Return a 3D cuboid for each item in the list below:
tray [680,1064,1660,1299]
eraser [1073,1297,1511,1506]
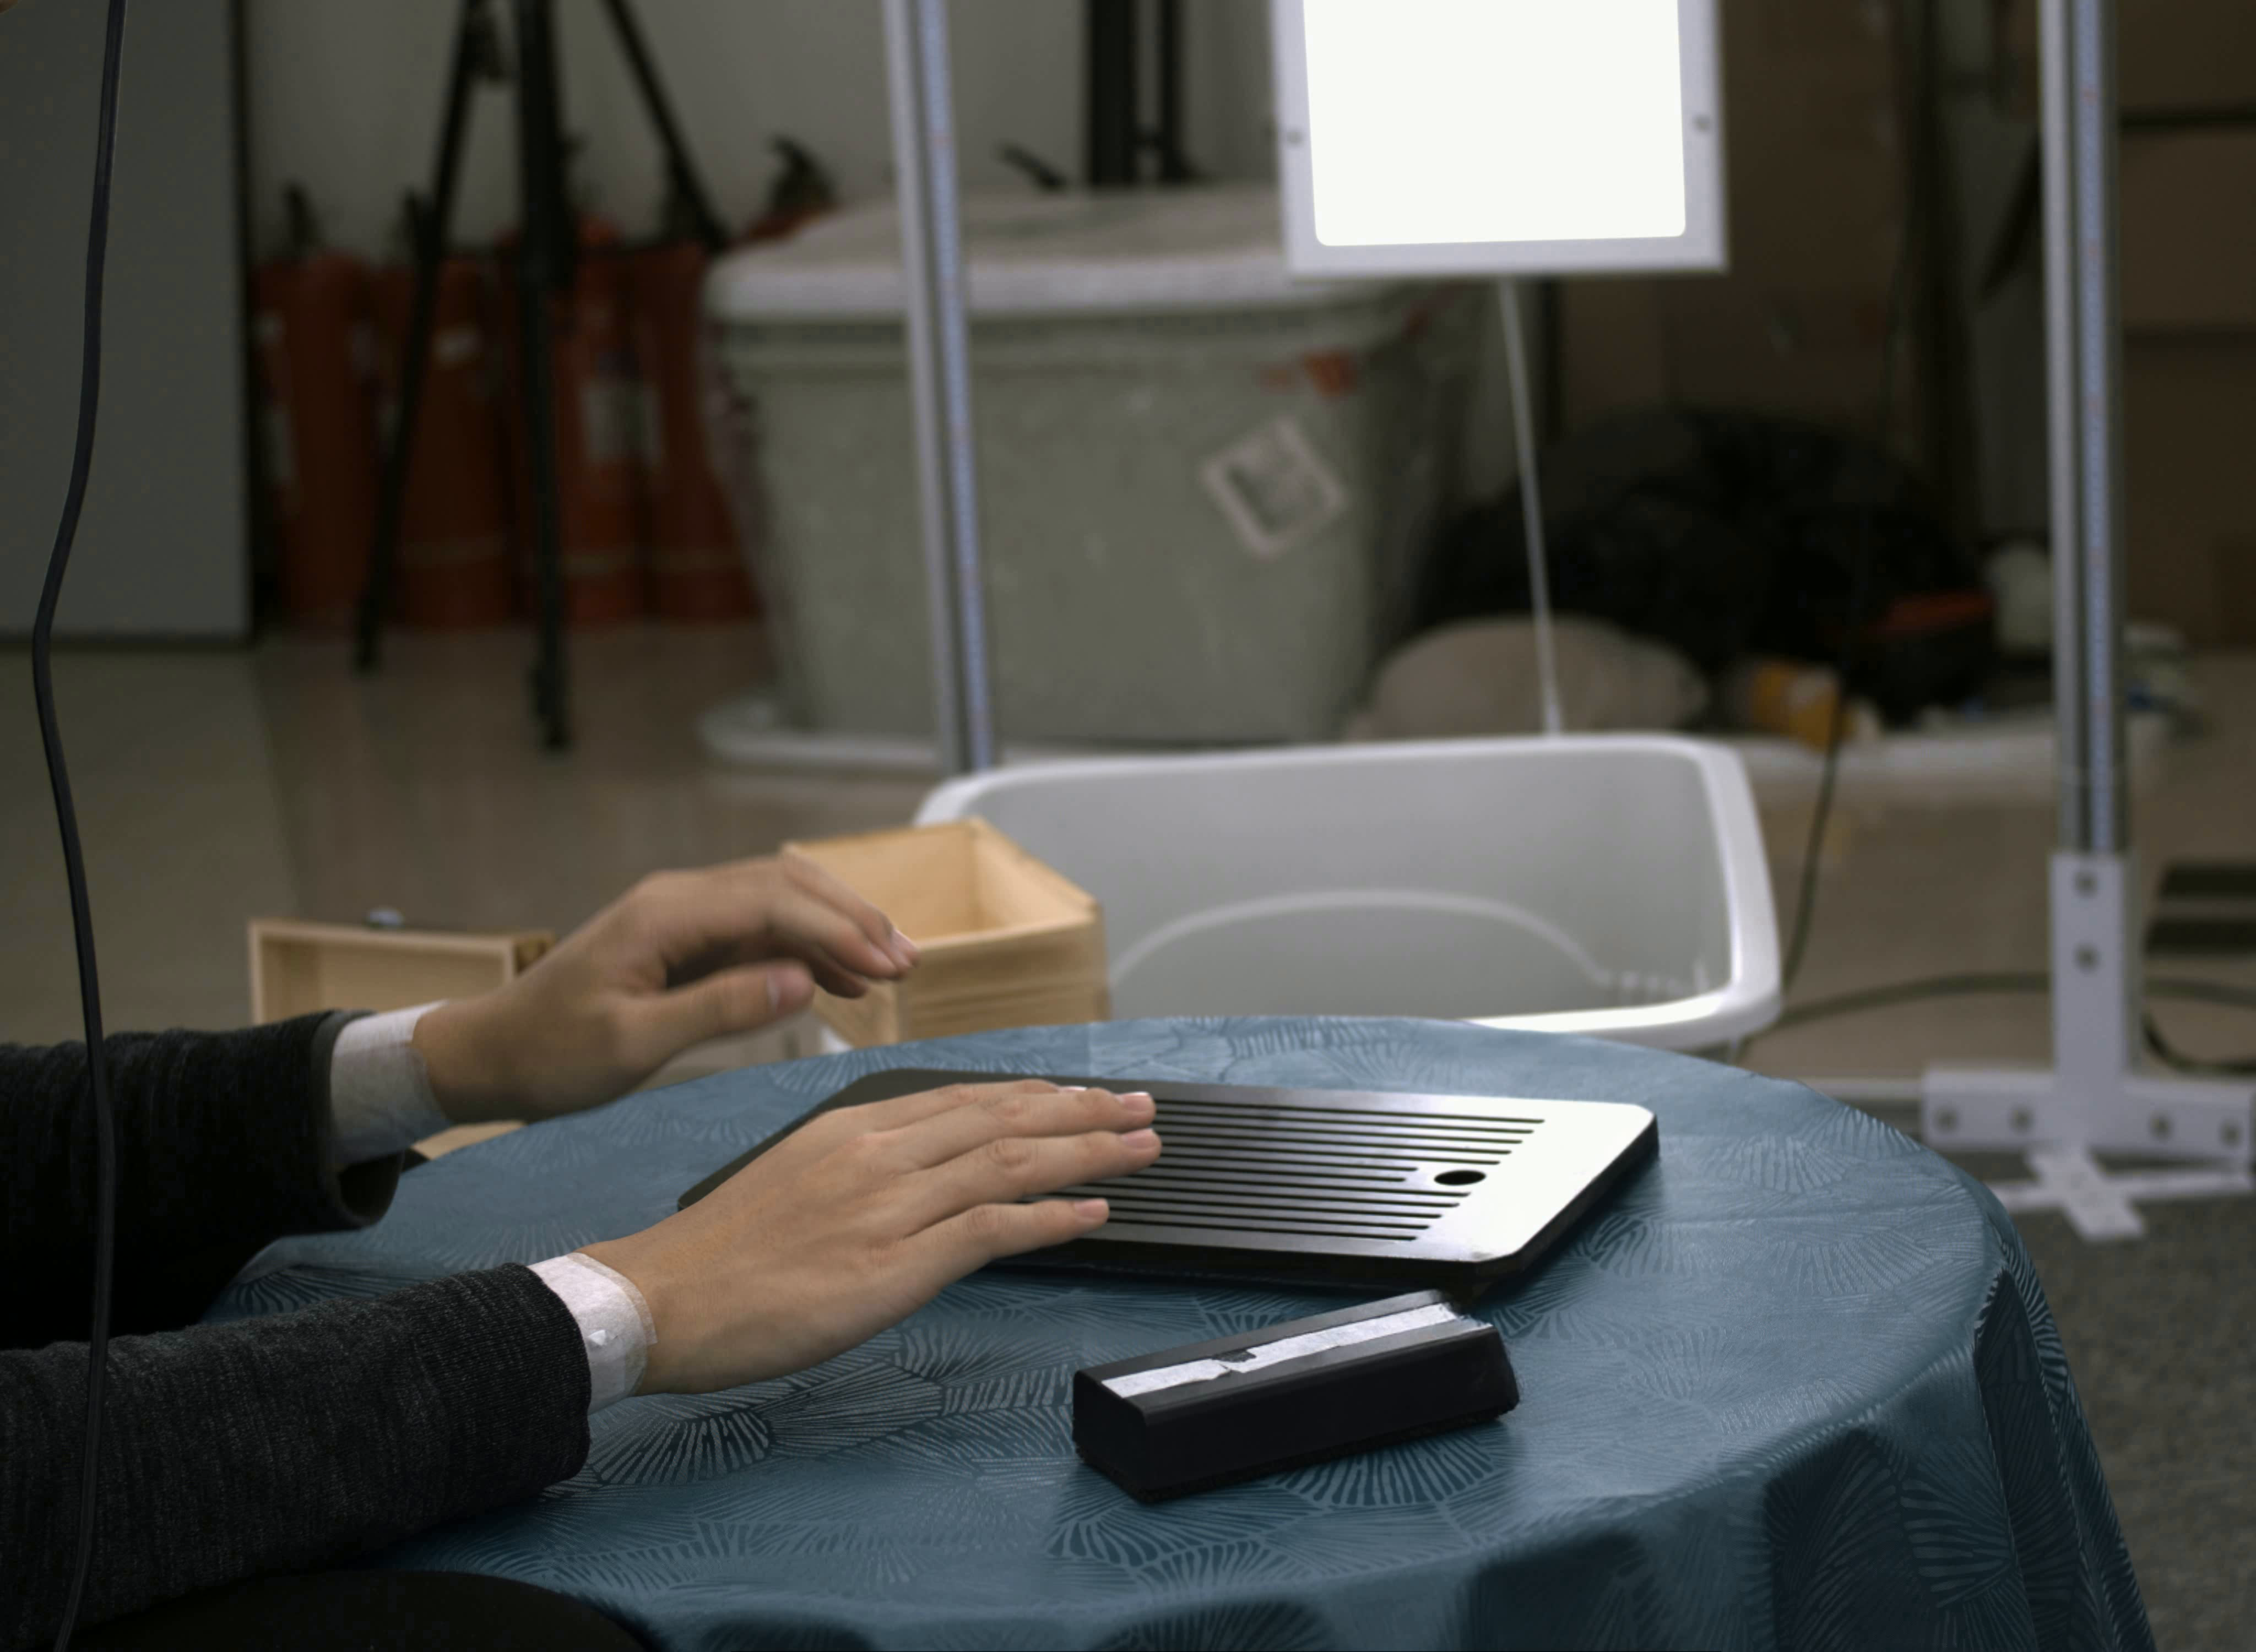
[{"bbox_3d":[0.015,0.120,1.882,0.311,0.019,0.166,2,16,26],"label":"tray"},{"bbox_3d":[0.050,0.170,1.642,0.123,0.030,0.054,-12,13,-23],"label":"eraser"}]
